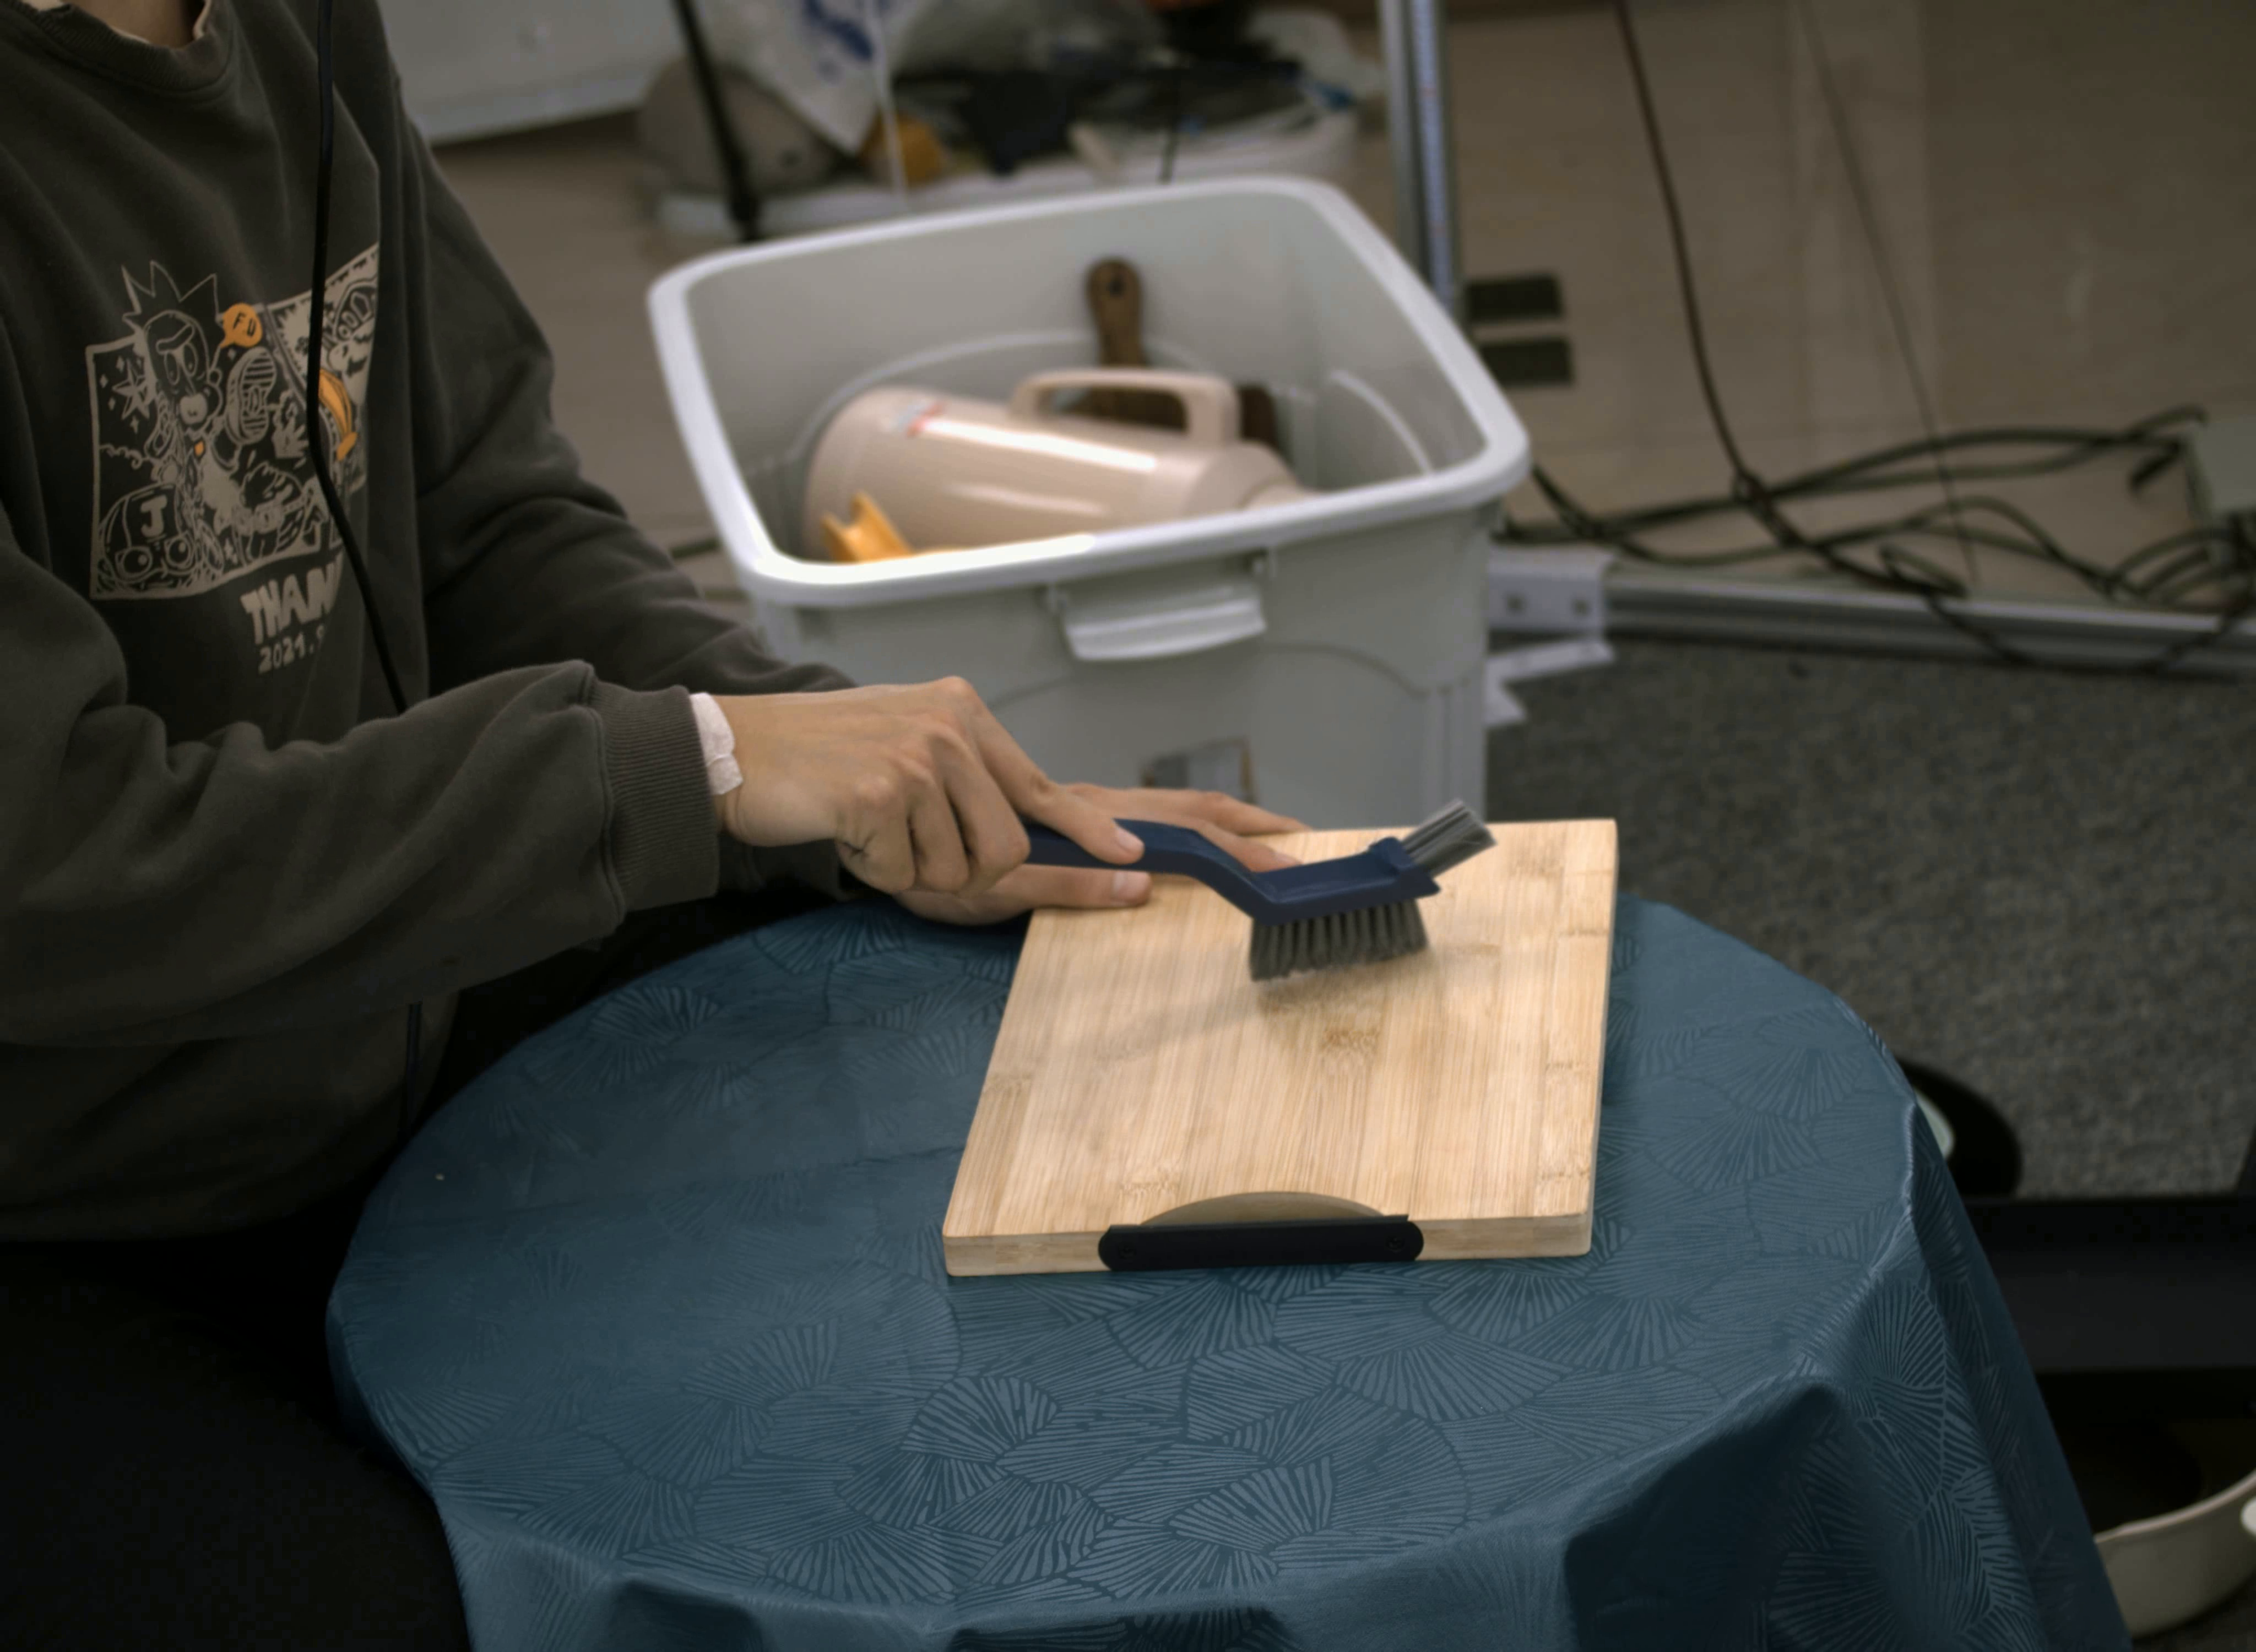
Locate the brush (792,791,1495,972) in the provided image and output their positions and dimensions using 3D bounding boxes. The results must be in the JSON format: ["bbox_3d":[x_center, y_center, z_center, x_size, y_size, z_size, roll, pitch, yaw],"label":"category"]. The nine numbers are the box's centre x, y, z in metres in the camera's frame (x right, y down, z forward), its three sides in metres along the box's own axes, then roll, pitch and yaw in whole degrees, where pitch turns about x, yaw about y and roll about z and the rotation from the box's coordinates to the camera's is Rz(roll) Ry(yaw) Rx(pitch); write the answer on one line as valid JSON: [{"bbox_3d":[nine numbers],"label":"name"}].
[{"bbox_3d":[0.006,0.004,2.197,0.274,0.097,0.033,12,30,-27],"label":"brush"}]

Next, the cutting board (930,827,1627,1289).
[{"bbox_3d":[0.067,0.086,2.225,0.250,0.024,0.343,-4,25,8],"label":"cutting board"}]
